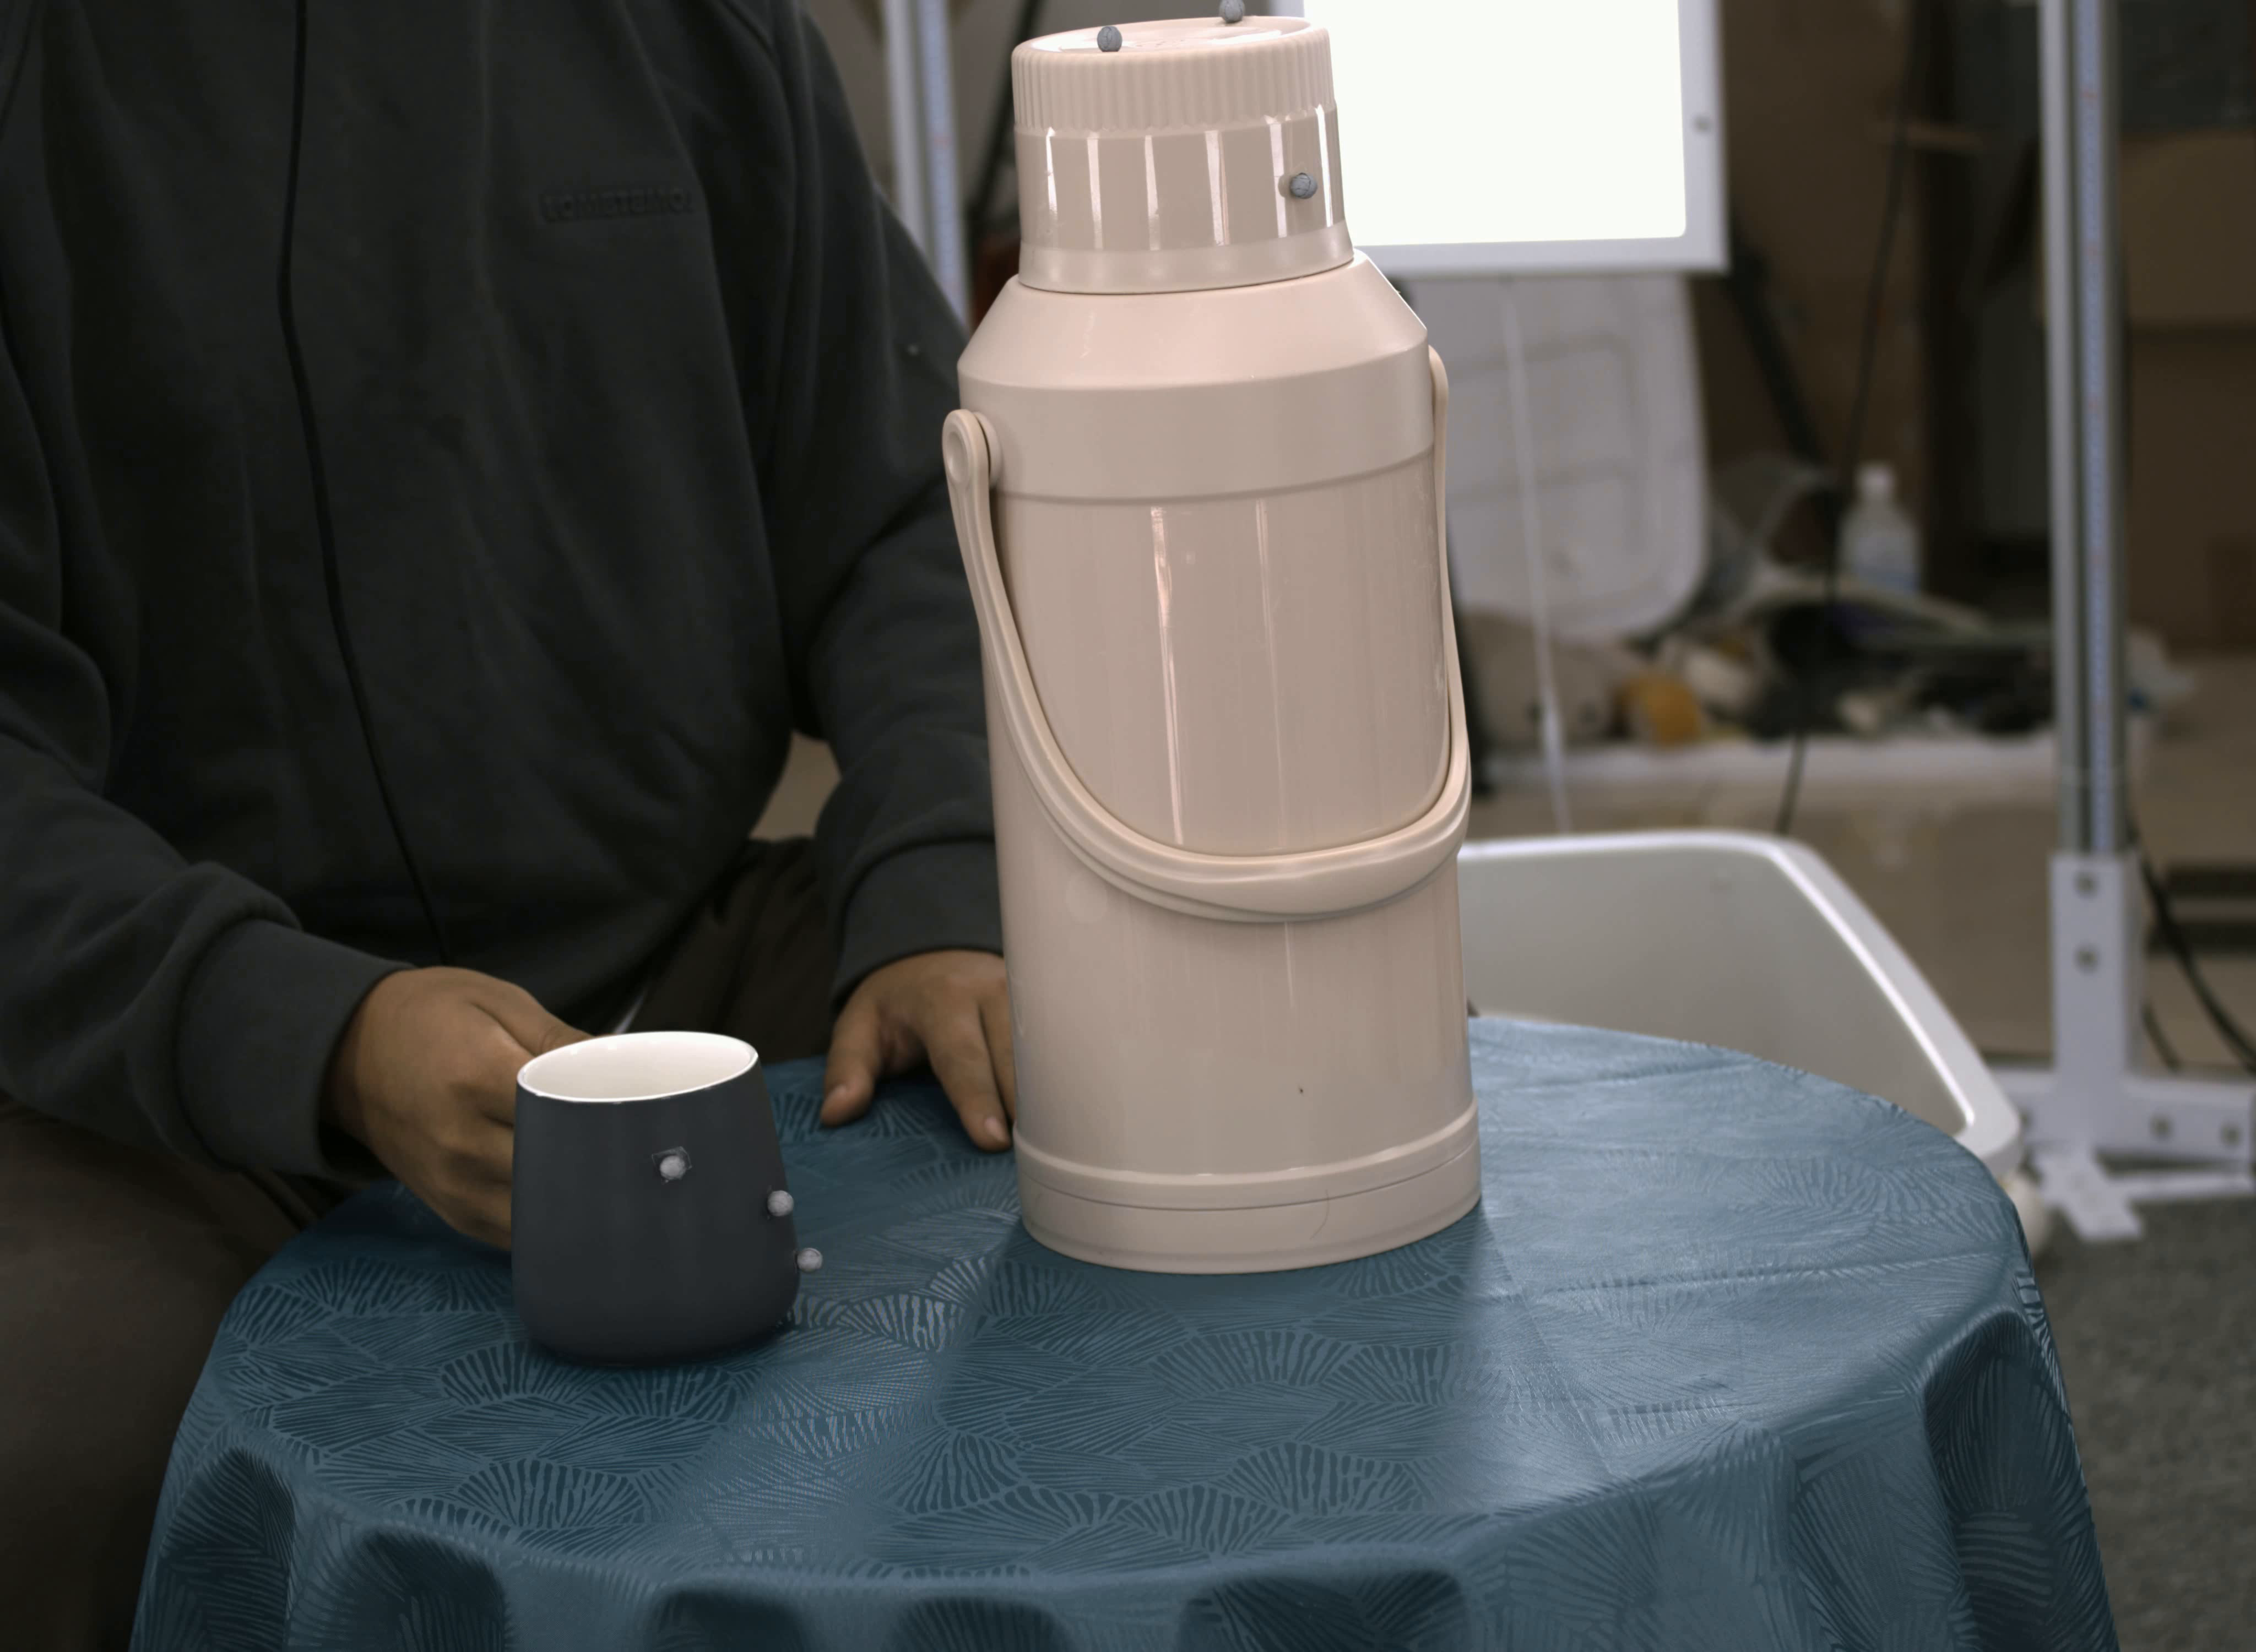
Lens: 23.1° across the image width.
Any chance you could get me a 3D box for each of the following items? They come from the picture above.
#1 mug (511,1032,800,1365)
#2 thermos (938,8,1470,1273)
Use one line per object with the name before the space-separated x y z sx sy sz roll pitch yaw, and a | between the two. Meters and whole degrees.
mug | -0.159 0.117 1.800 0.092 0.090 0.124 -8 14 -14
thermos | 0.021 -0.067 1.844 0.172 0.408 0.210 -11 15 -23
